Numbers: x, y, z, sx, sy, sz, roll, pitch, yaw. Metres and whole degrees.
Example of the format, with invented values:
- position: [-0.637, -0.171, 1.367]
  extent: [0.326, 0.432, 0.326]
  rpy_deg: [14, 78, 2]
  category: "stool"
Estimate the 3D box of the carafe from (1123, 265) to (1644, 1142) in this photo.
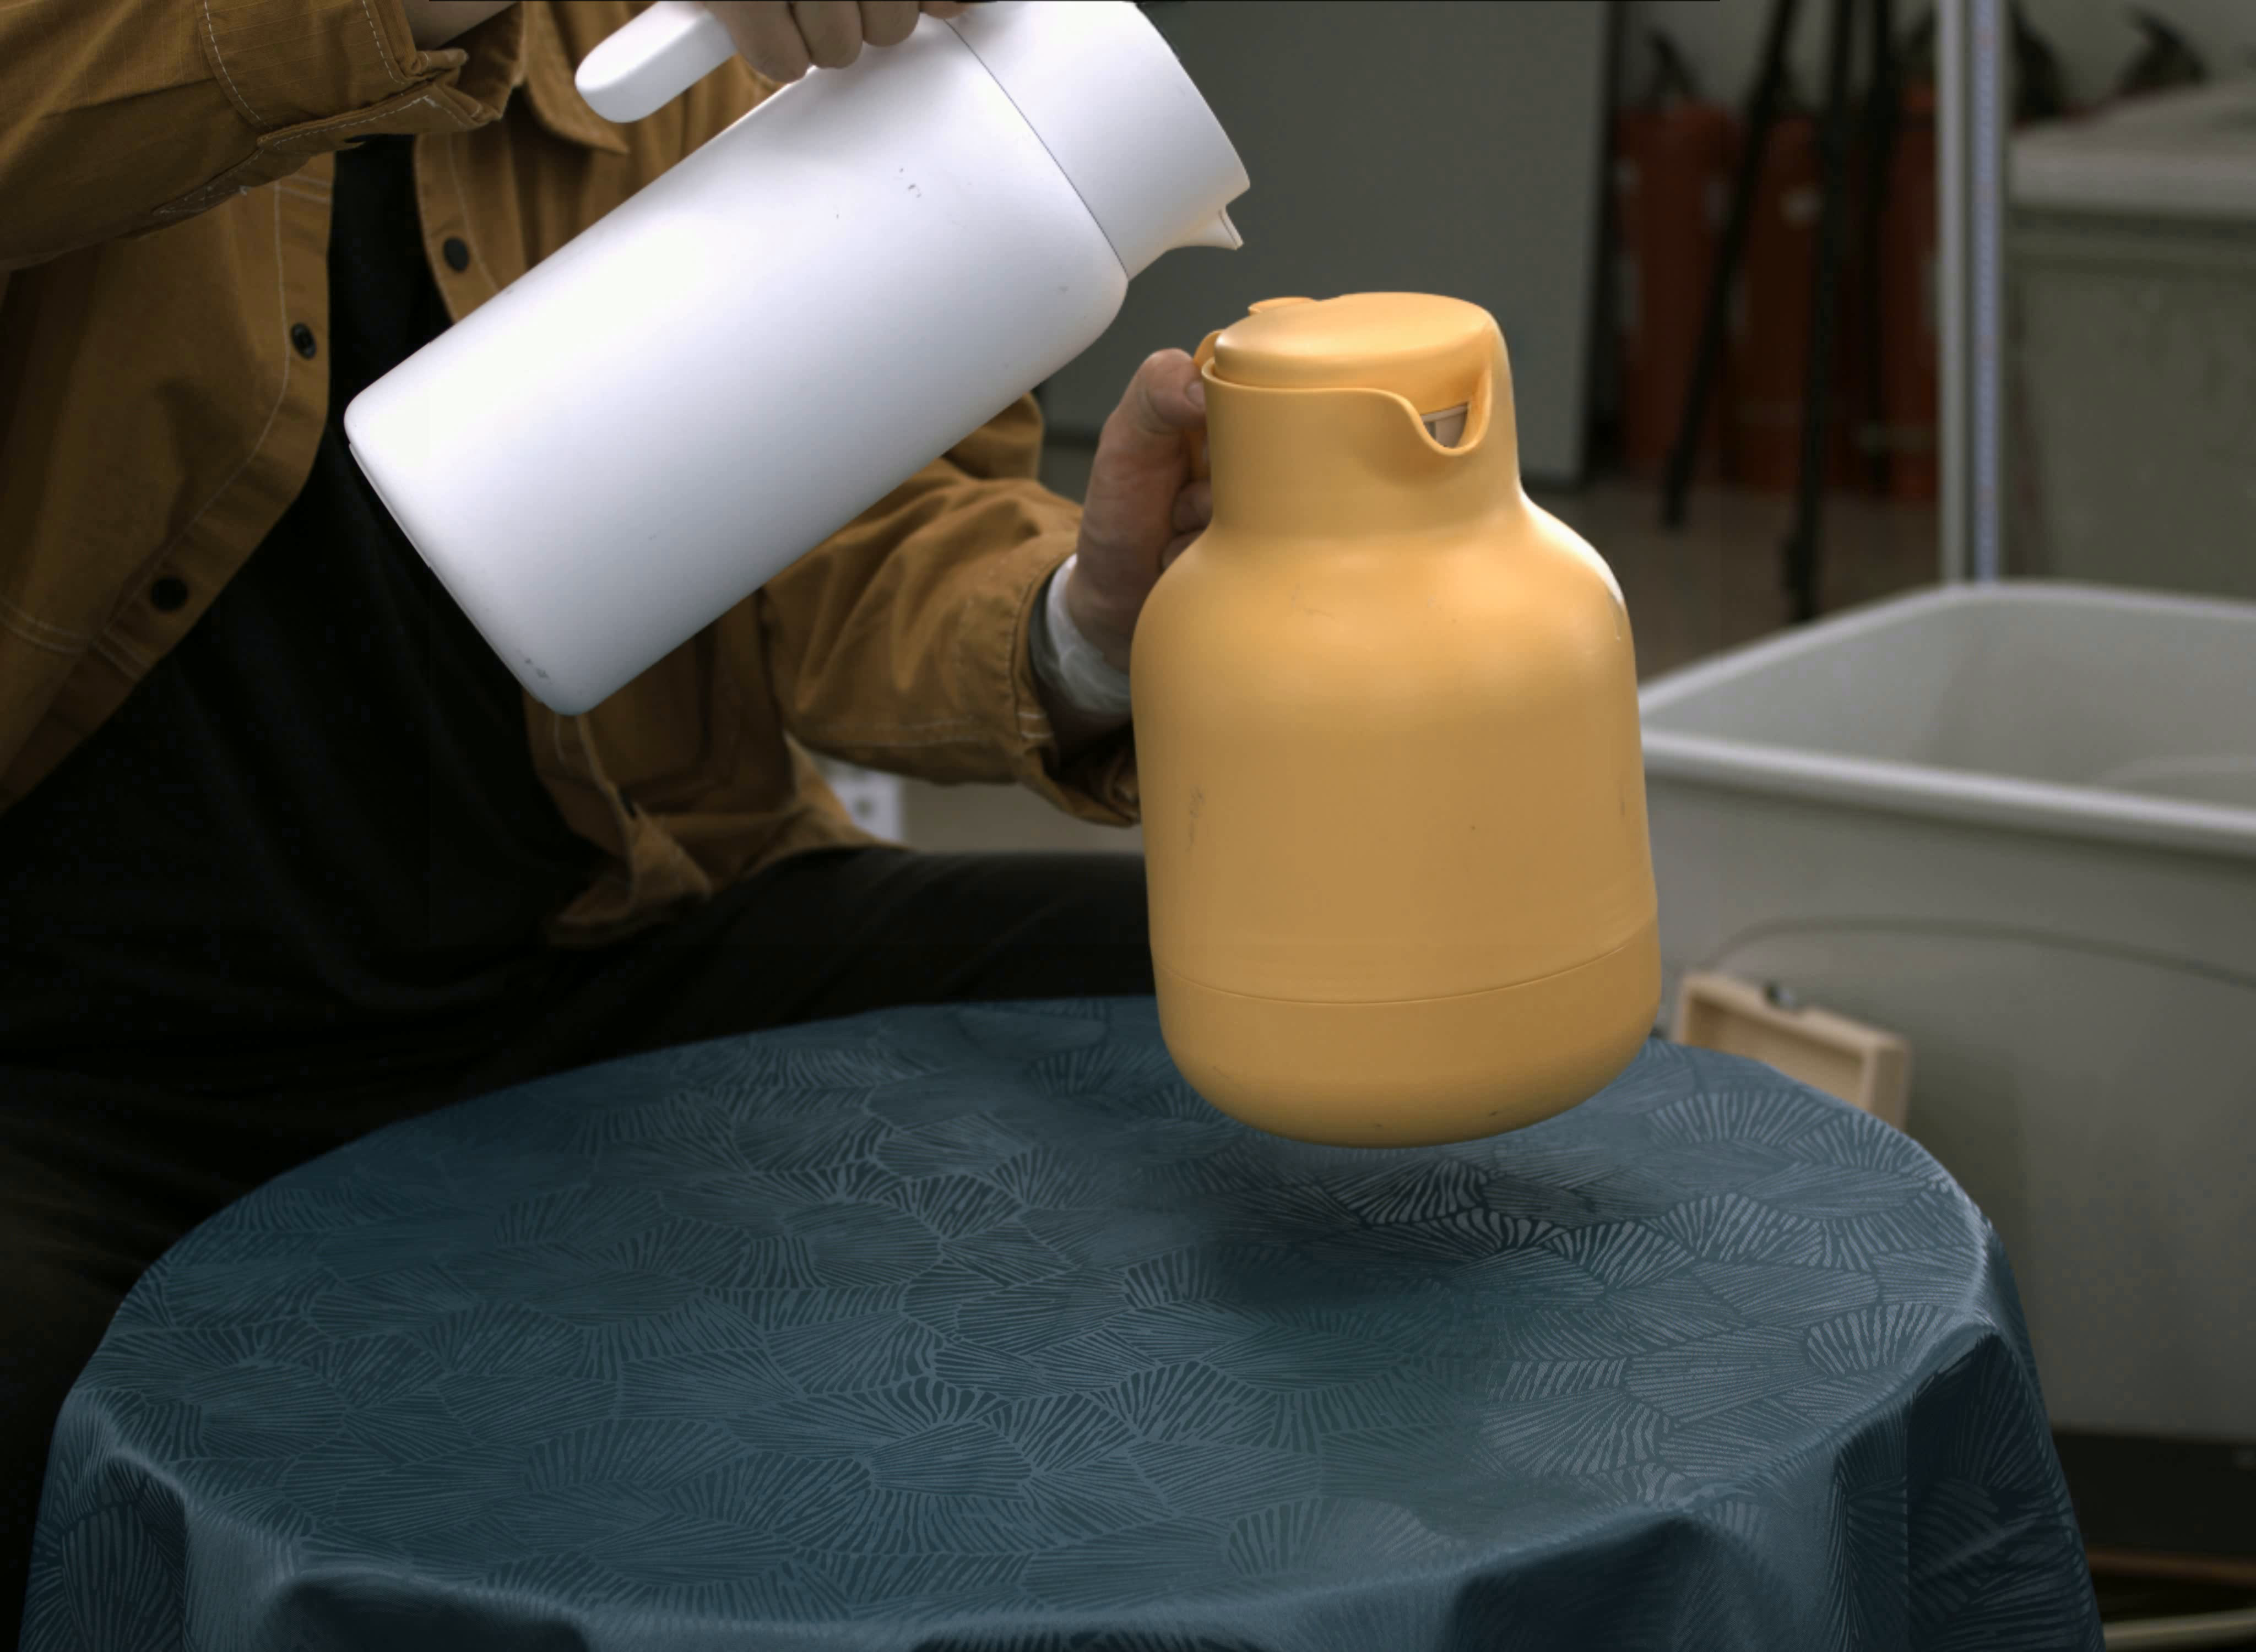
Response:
- position: [0.073, -0.047, 1.716]
  extent: [0.160, 0.263, 0.204]
  rpy_deg: [-8, 17, -16]
  category: "carafe"

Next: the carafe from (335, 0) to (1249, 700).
- position: [-0.108, -0.171, 1.605]
  extent: [0.268, 0.172, 0.125]
  rpy_deg: [-35, 31, 2]
  category: "carafe"
